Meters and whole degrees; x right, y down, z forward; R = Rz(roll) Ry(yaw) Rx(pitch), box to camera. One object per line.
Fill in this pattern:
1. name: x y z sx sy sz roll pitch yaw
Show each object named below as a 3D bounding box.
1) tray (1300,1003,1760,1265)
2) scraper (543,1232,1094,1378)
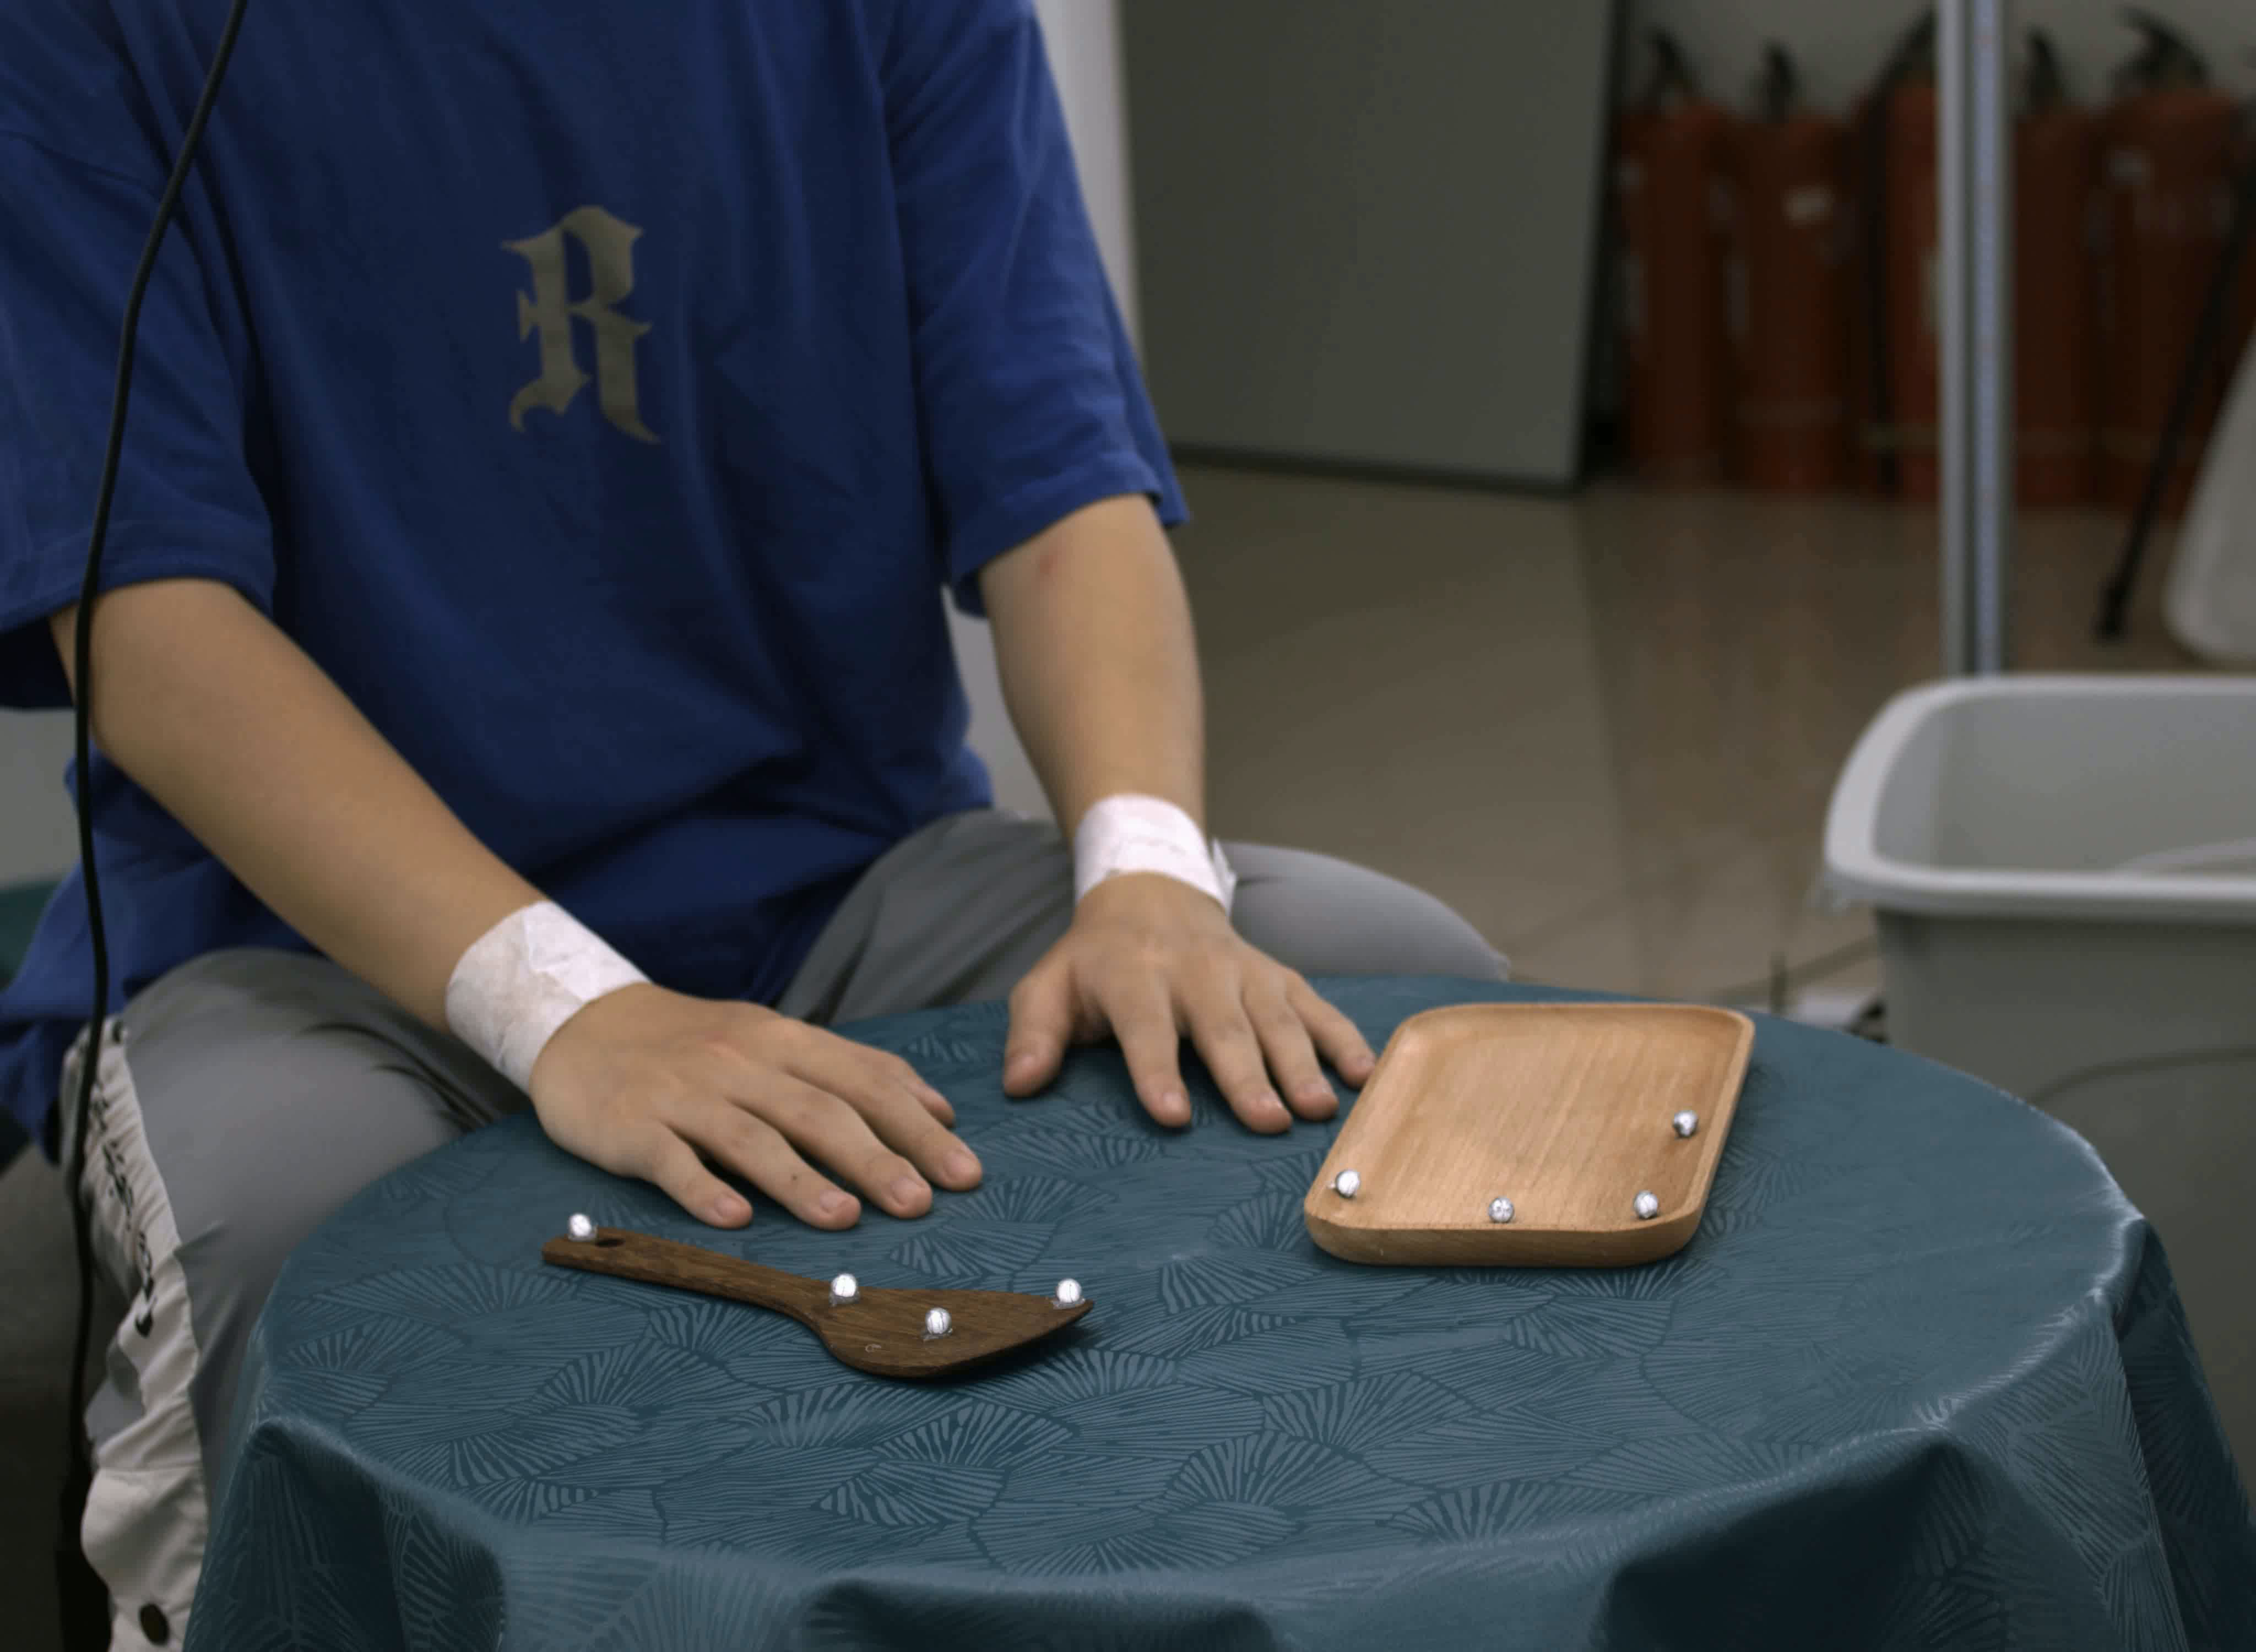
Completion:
1. tray: 0.137 0.100 1.783 0.130 0.023 0.249 2 14 13
2. scraper: -0.105 0.146 1.681 0.213 0.011 0.074 8 17 43
